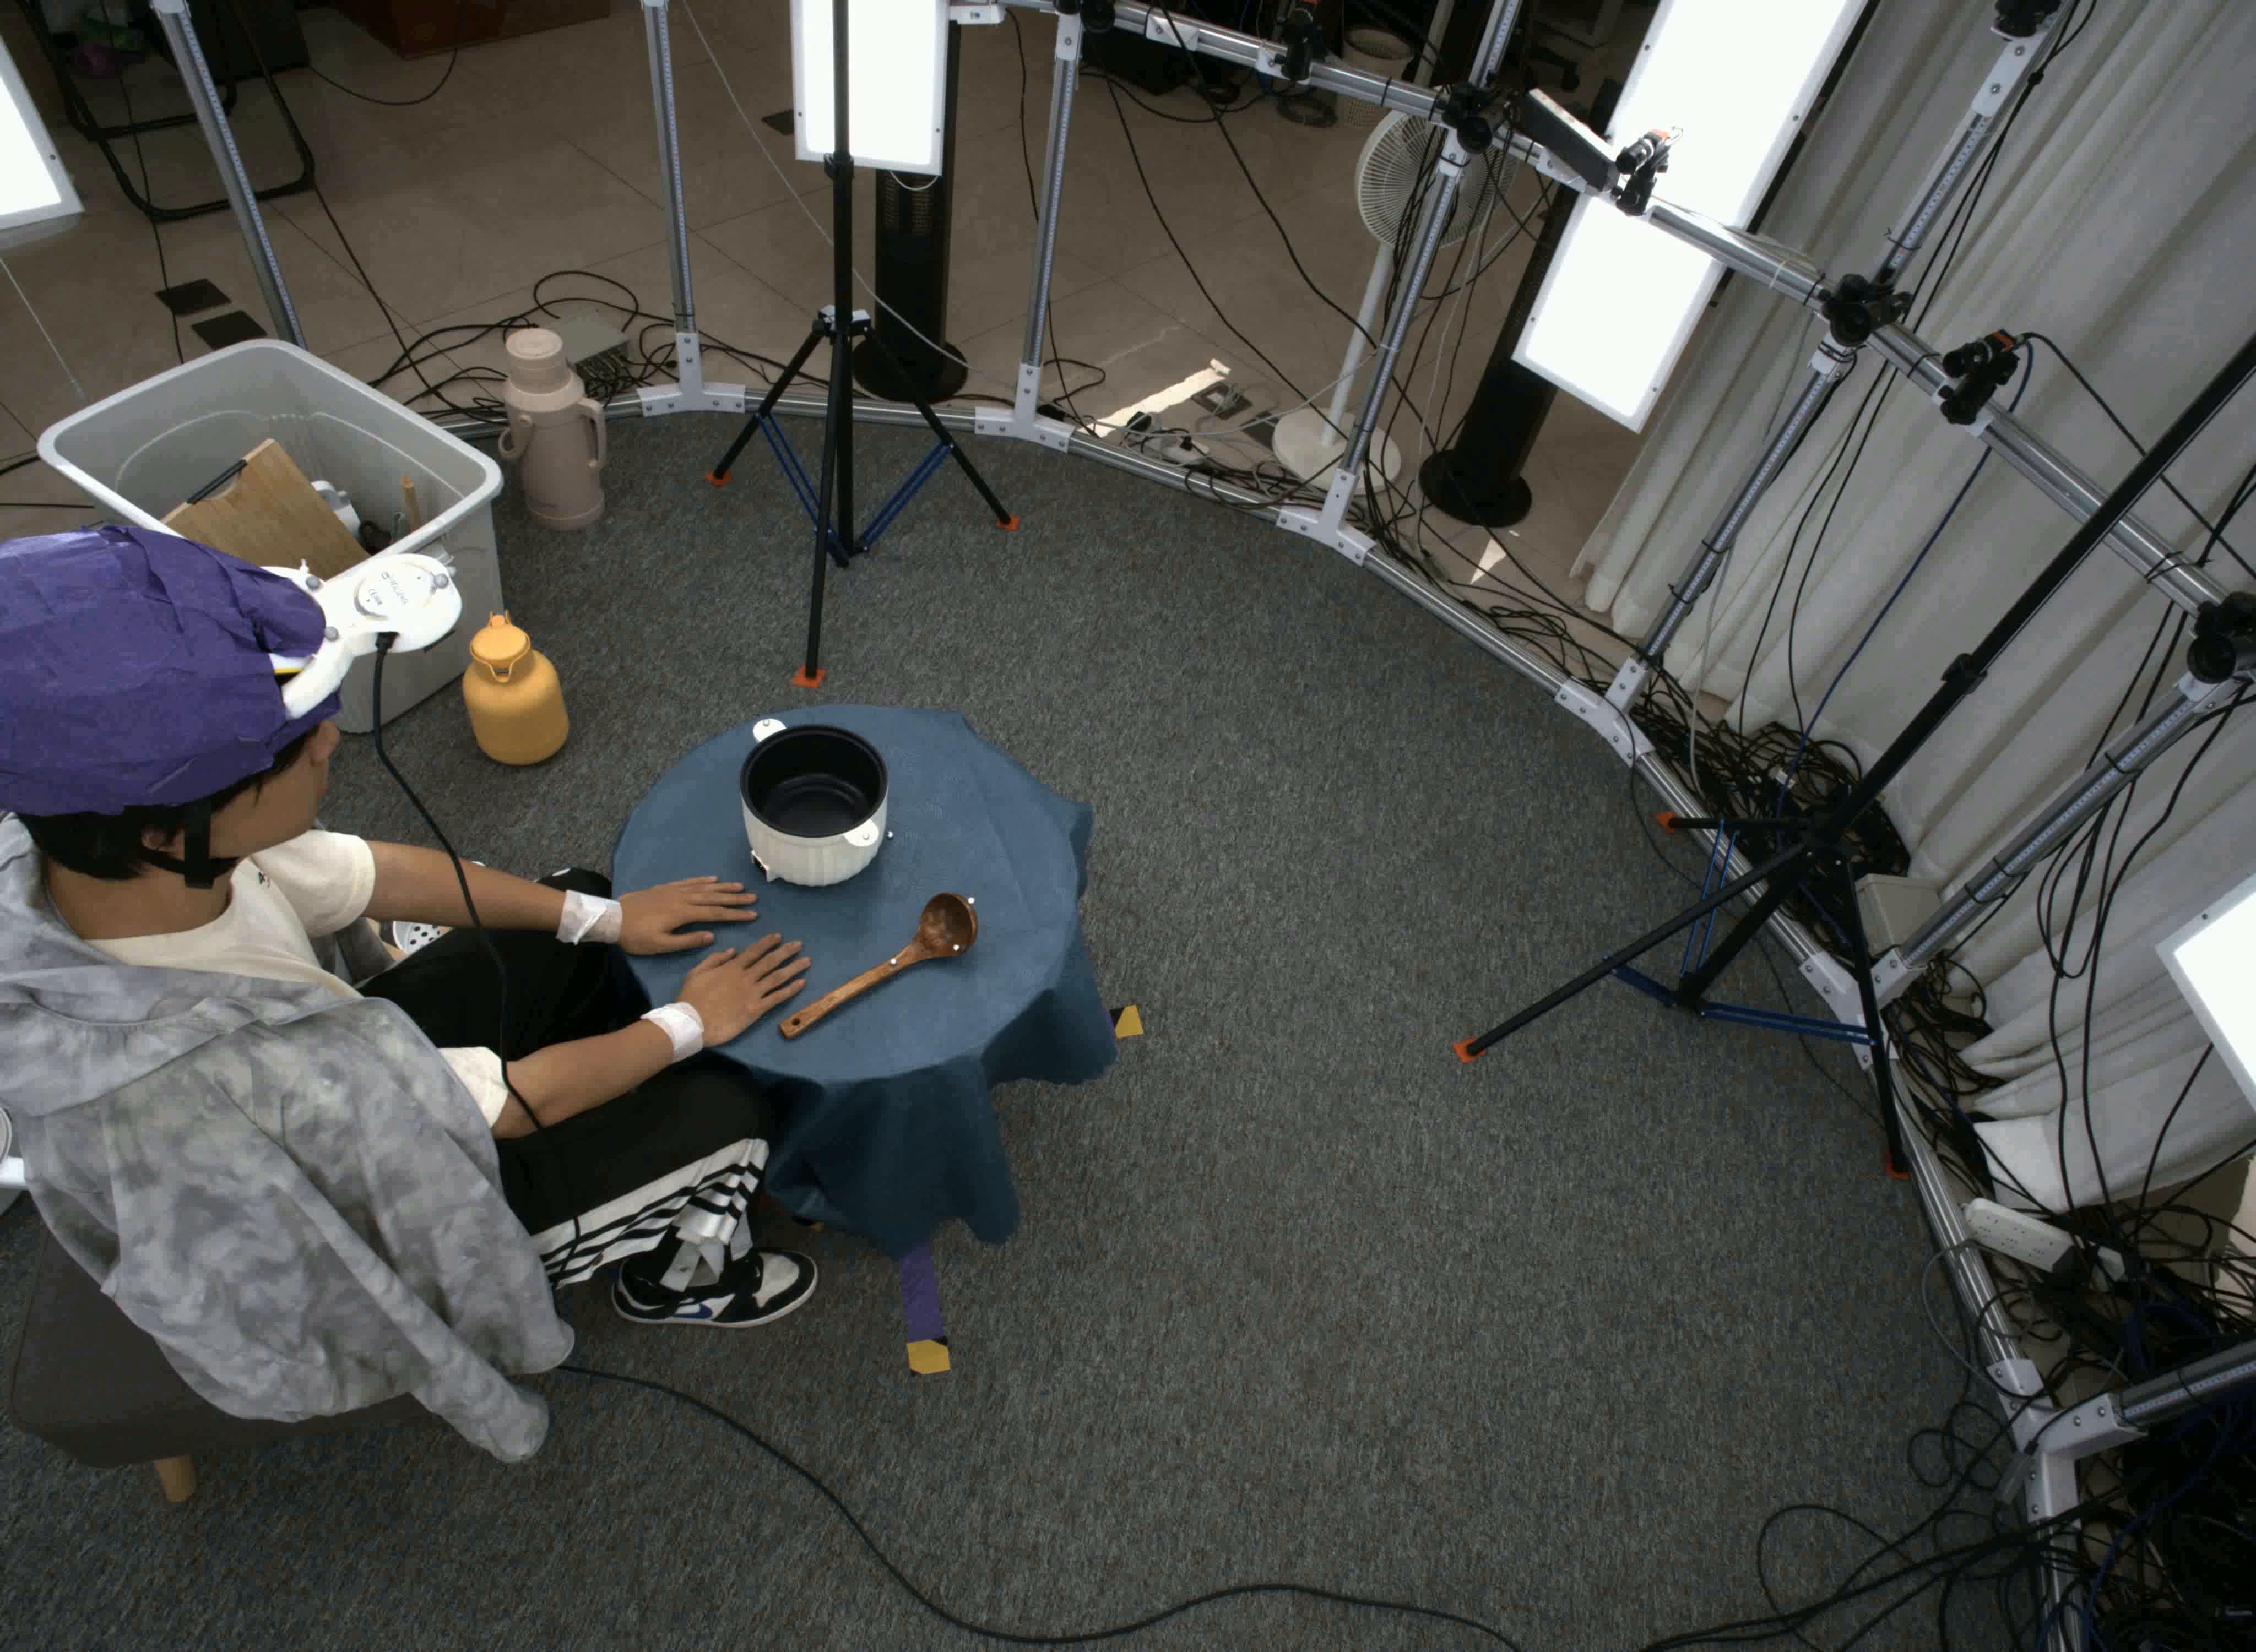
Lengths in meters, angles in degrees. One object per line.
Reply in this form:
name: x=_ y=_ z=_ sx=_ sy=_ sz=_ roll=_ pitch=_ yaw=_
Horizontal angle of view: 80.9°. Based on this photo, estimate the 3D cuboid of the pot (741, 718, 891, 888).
pot: x=-0.390 y=-0.023 z=1.662 sx=0.191 sy=0.145 sz=0.235 roll=-35 pitch=69 yaw=-28

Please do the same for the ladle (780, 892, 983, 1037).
ladle: x=-0.298 y=0.168 z=1.583 sx=0.275 sy=0.078 sz=0.080 roll=-28 pitch=66 yaw=-30
